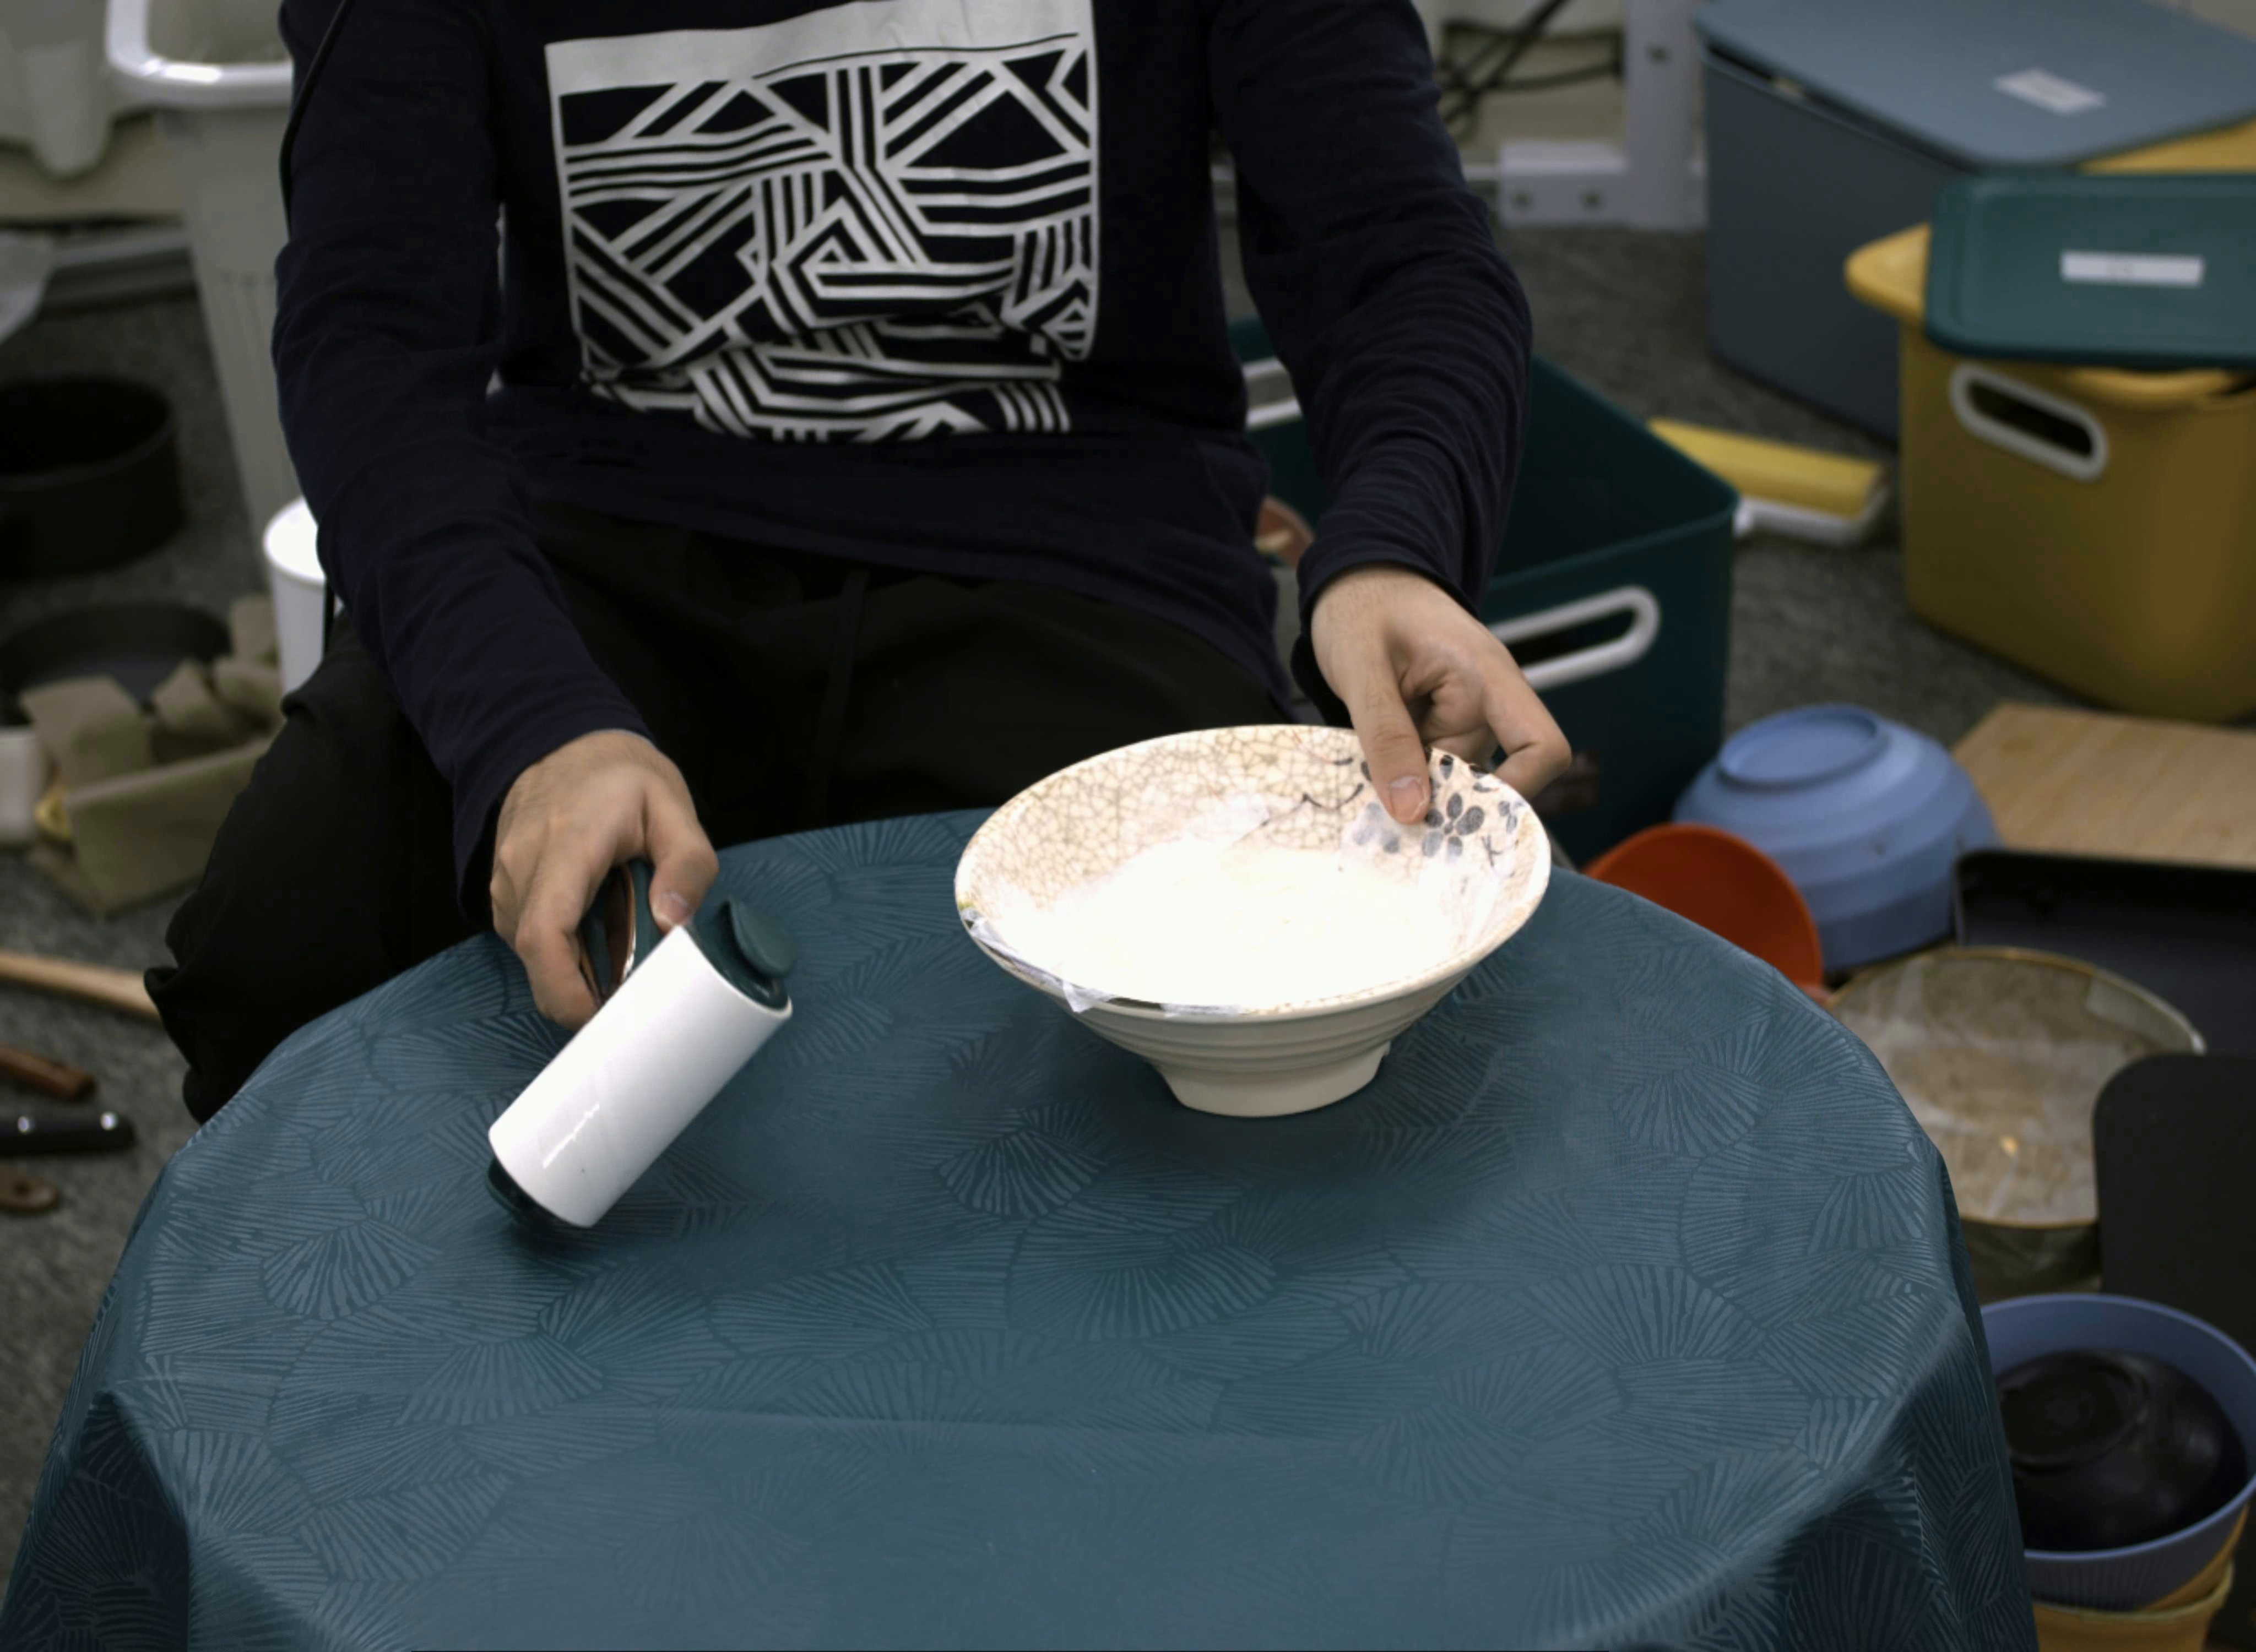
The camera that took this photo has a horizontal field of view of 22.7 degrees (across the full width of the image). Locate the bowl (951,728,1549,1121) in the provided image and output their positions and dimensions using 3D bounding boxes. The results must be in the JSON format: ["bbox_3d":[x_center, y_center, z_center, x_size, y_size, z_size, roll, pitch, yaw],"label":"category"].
[{"bbox_3d":[0.043,0.046,1.919,0.203,0.077,0.207,-2,27,1],"label":"bowl"}]

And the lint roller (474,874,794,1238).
[{"bbox_3d":[-0.174,0.051,1.891,0.133,0.048,0.182,-46,27,11],"label":"lint roller"}]
